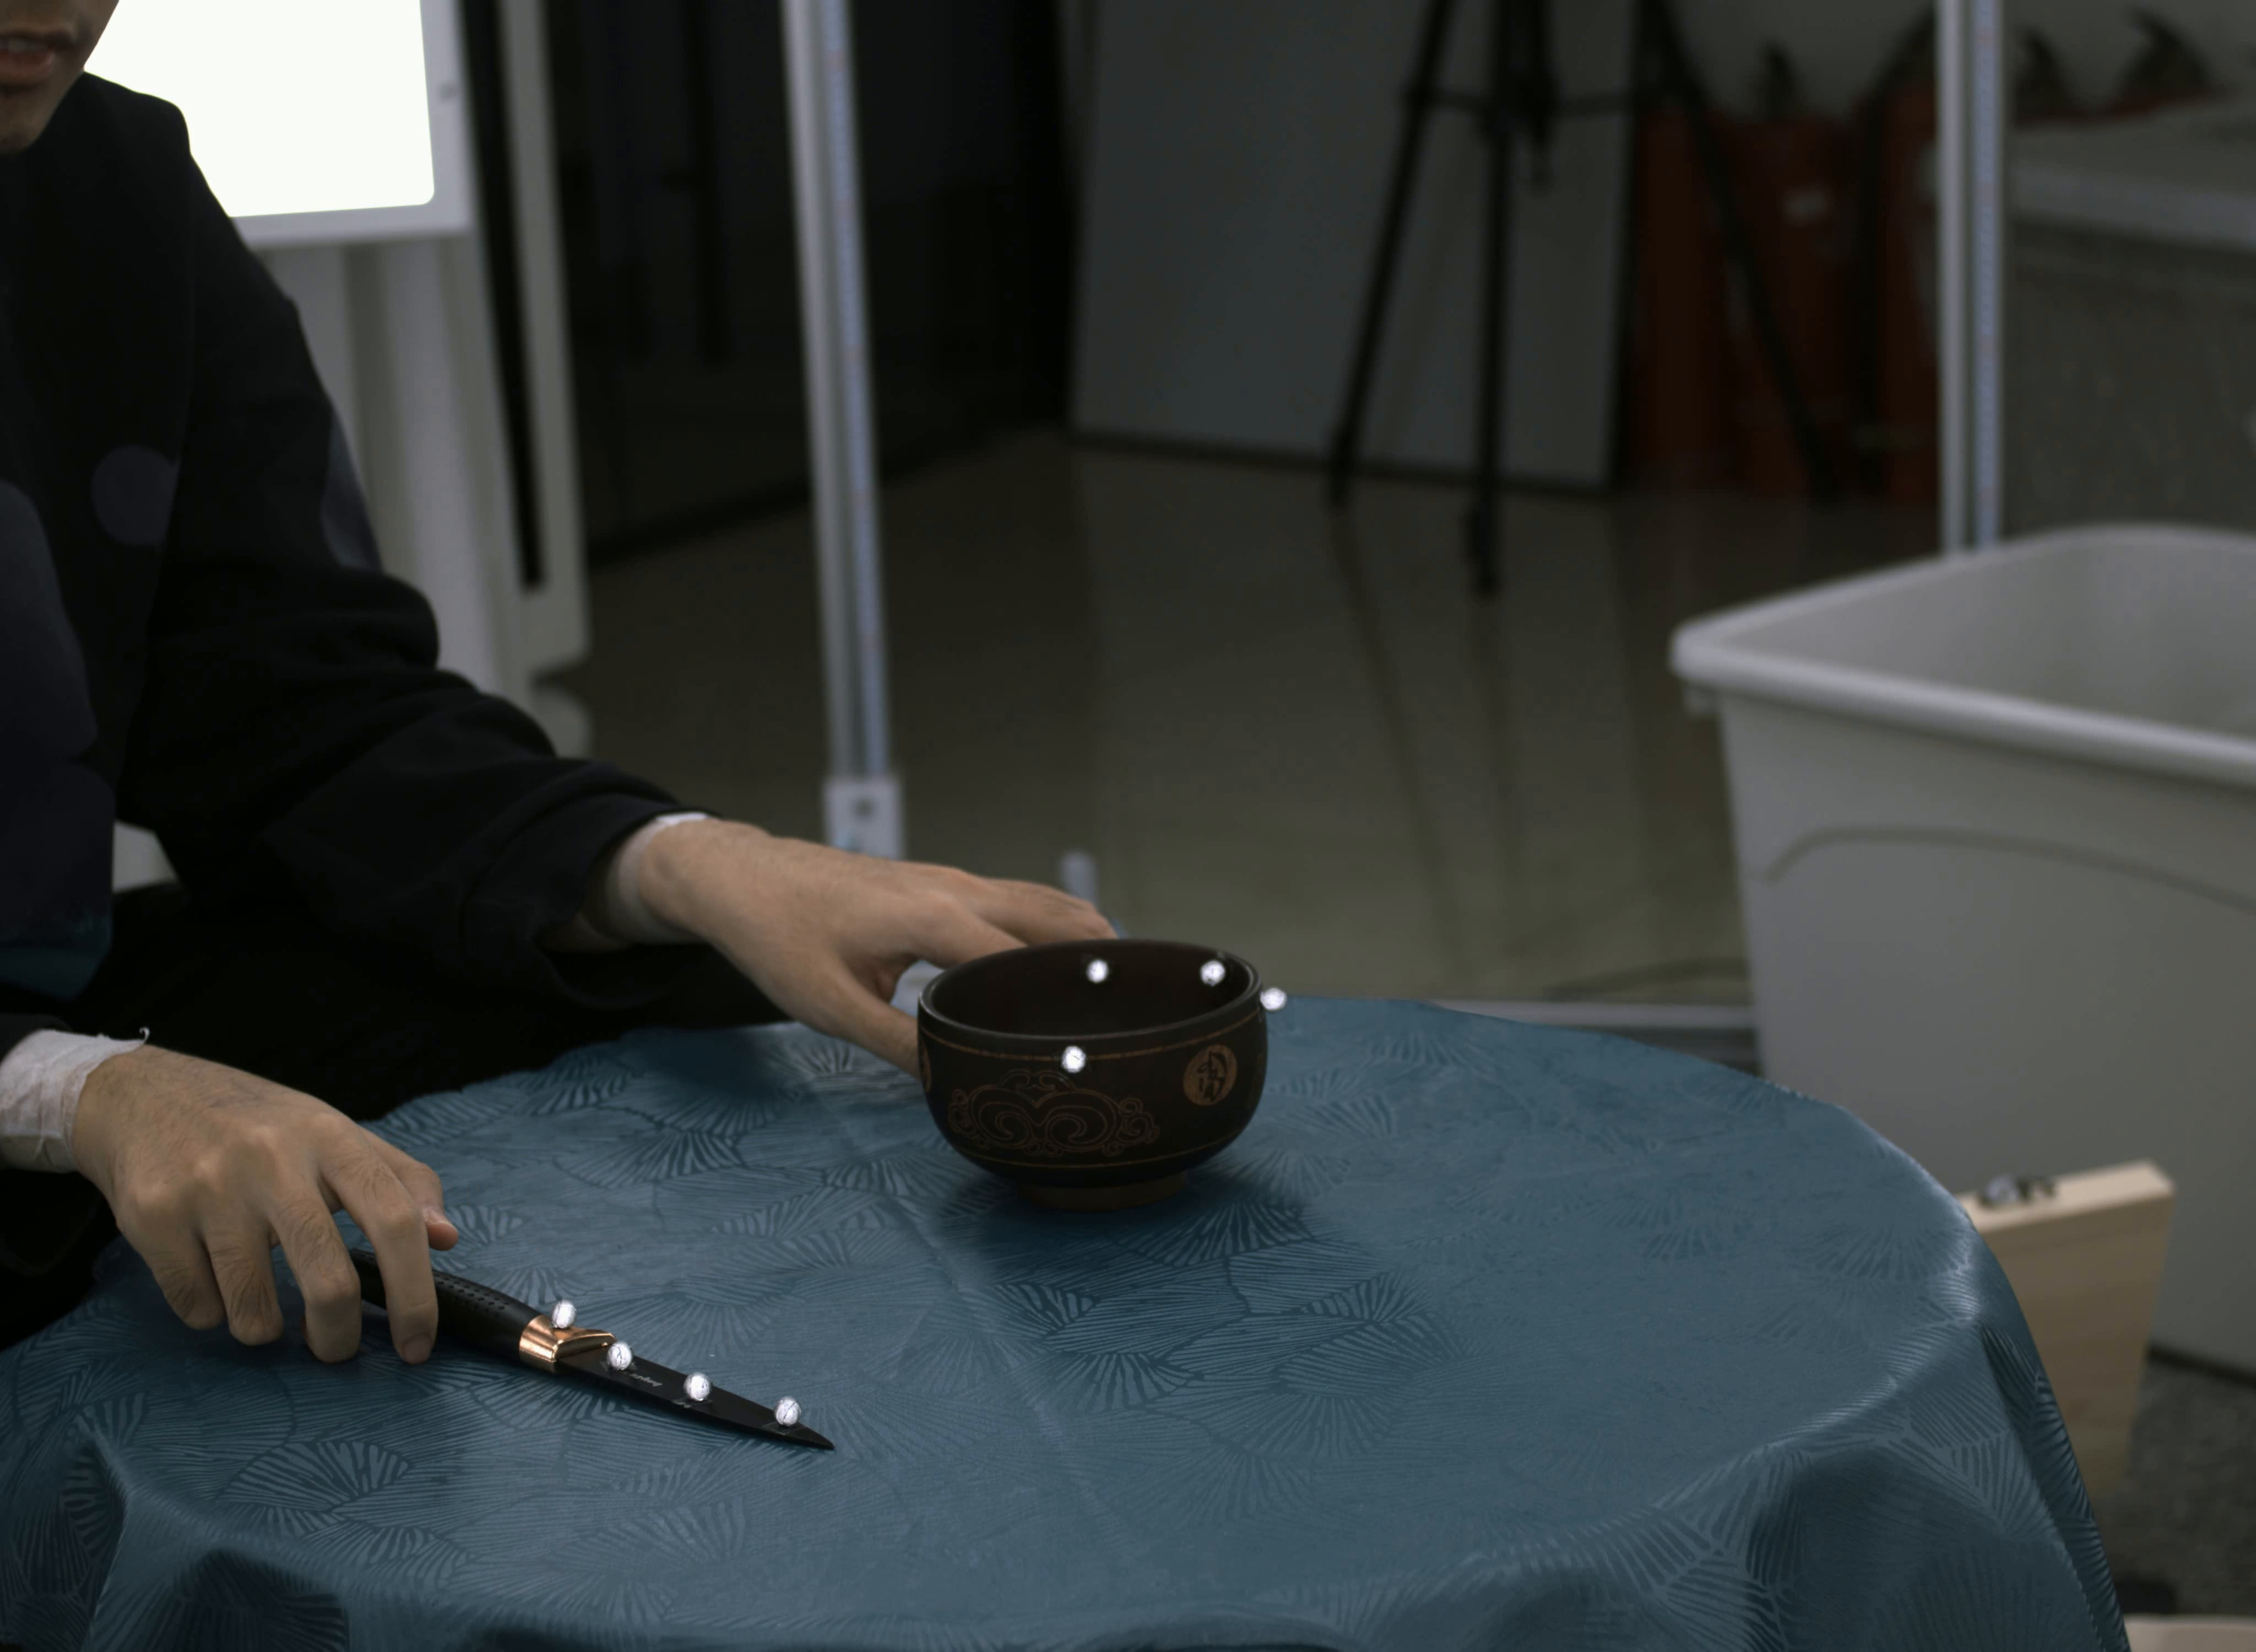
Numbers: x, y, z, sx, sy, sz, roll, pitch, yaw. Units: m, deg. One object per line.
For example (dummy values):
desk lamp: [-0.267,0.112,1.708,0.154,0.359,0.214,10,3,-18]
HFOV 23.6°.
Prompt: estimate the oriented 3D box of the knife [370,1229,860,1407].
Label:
knife: [-0.157,0.152,1.634,0.227,0.026,0.017,12,-4,45]

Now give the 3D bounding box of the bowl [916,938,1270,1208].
bowl: [-0.010,0.084,1.767,0.116,0.070,0.118,-5,12,0]
